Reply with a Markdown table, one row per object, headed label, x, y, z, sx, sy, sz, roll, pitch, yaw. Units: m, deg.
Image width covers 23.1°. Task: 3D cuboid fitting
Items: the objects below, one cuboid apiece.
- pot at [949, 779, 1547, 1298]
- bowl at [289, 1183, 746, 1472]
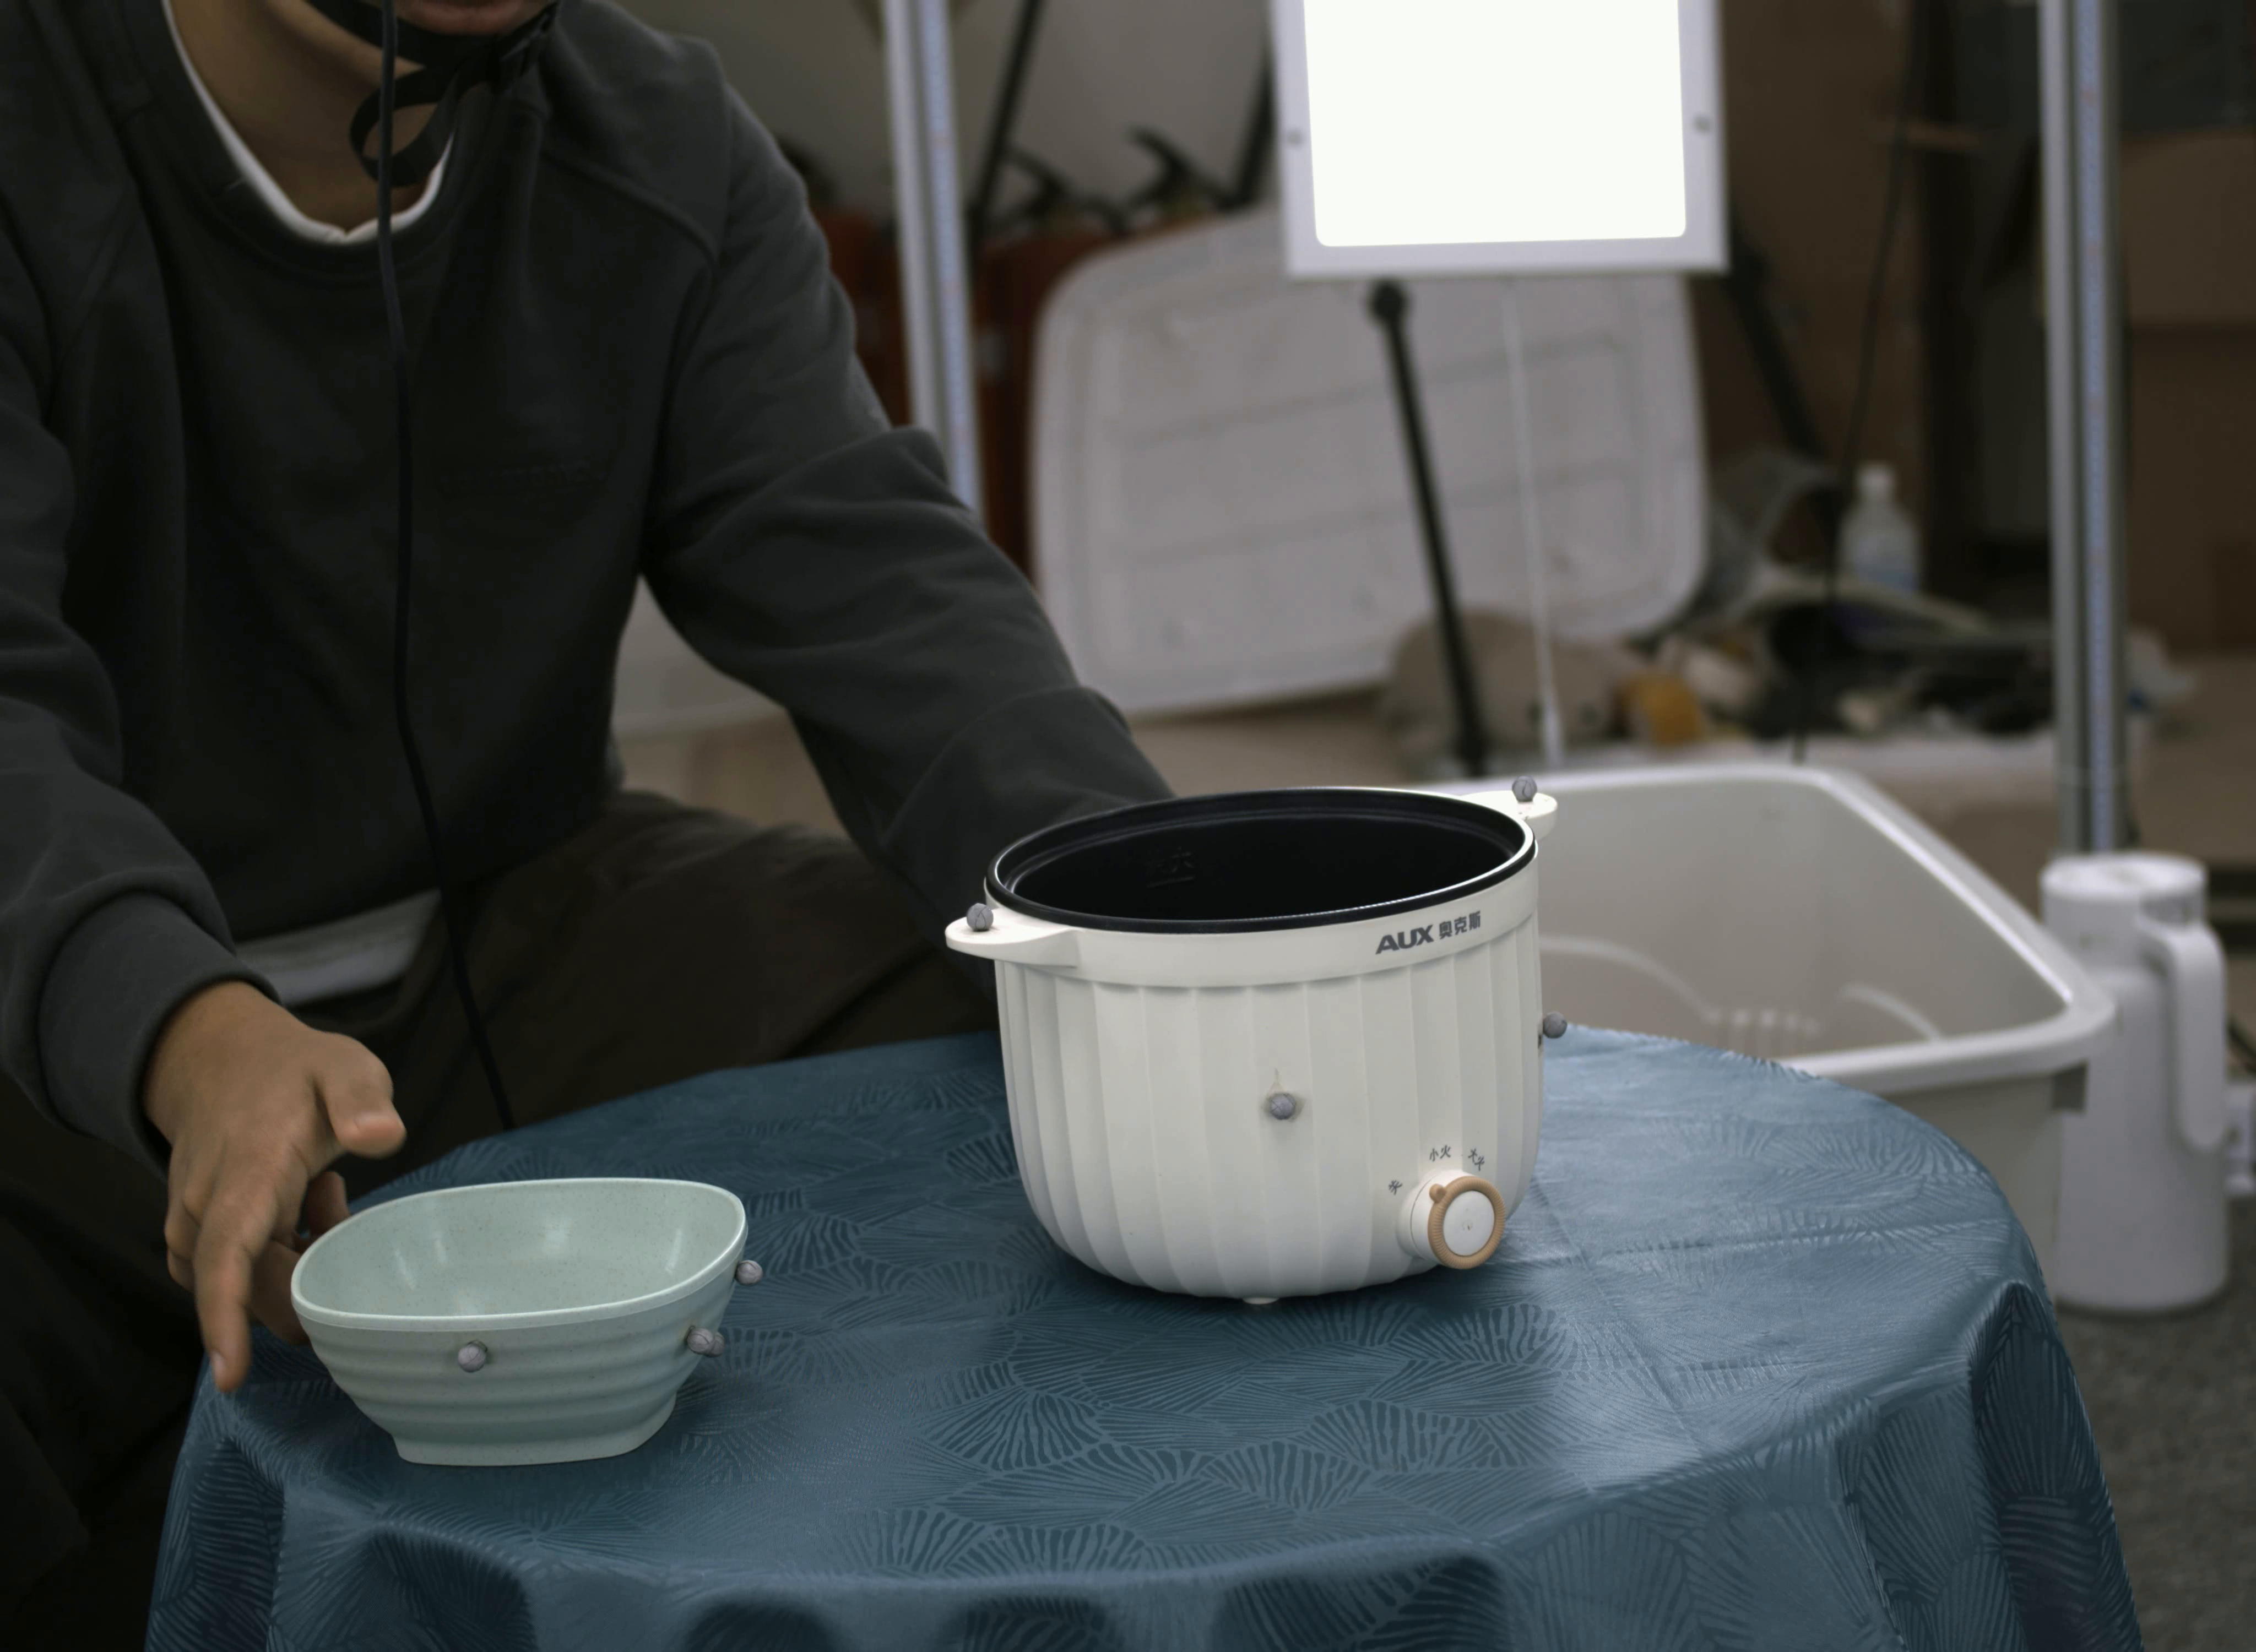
| label | x | y | z | sx | sy | sz | roll | pitch | yaw |
| --- | --- | --- | --- | --- | --- | --- | --- | --- | --- |
| pot | 0.052 | 0.071 | 1.809 | 0.234 | 0.143 | 0.194 | -16 | 14 | -33 |
| bowl | -0.187 | 0.159 | 1.715 | 0.151 | 0.059 | 0.151 | -3 | 14 | -1 |
